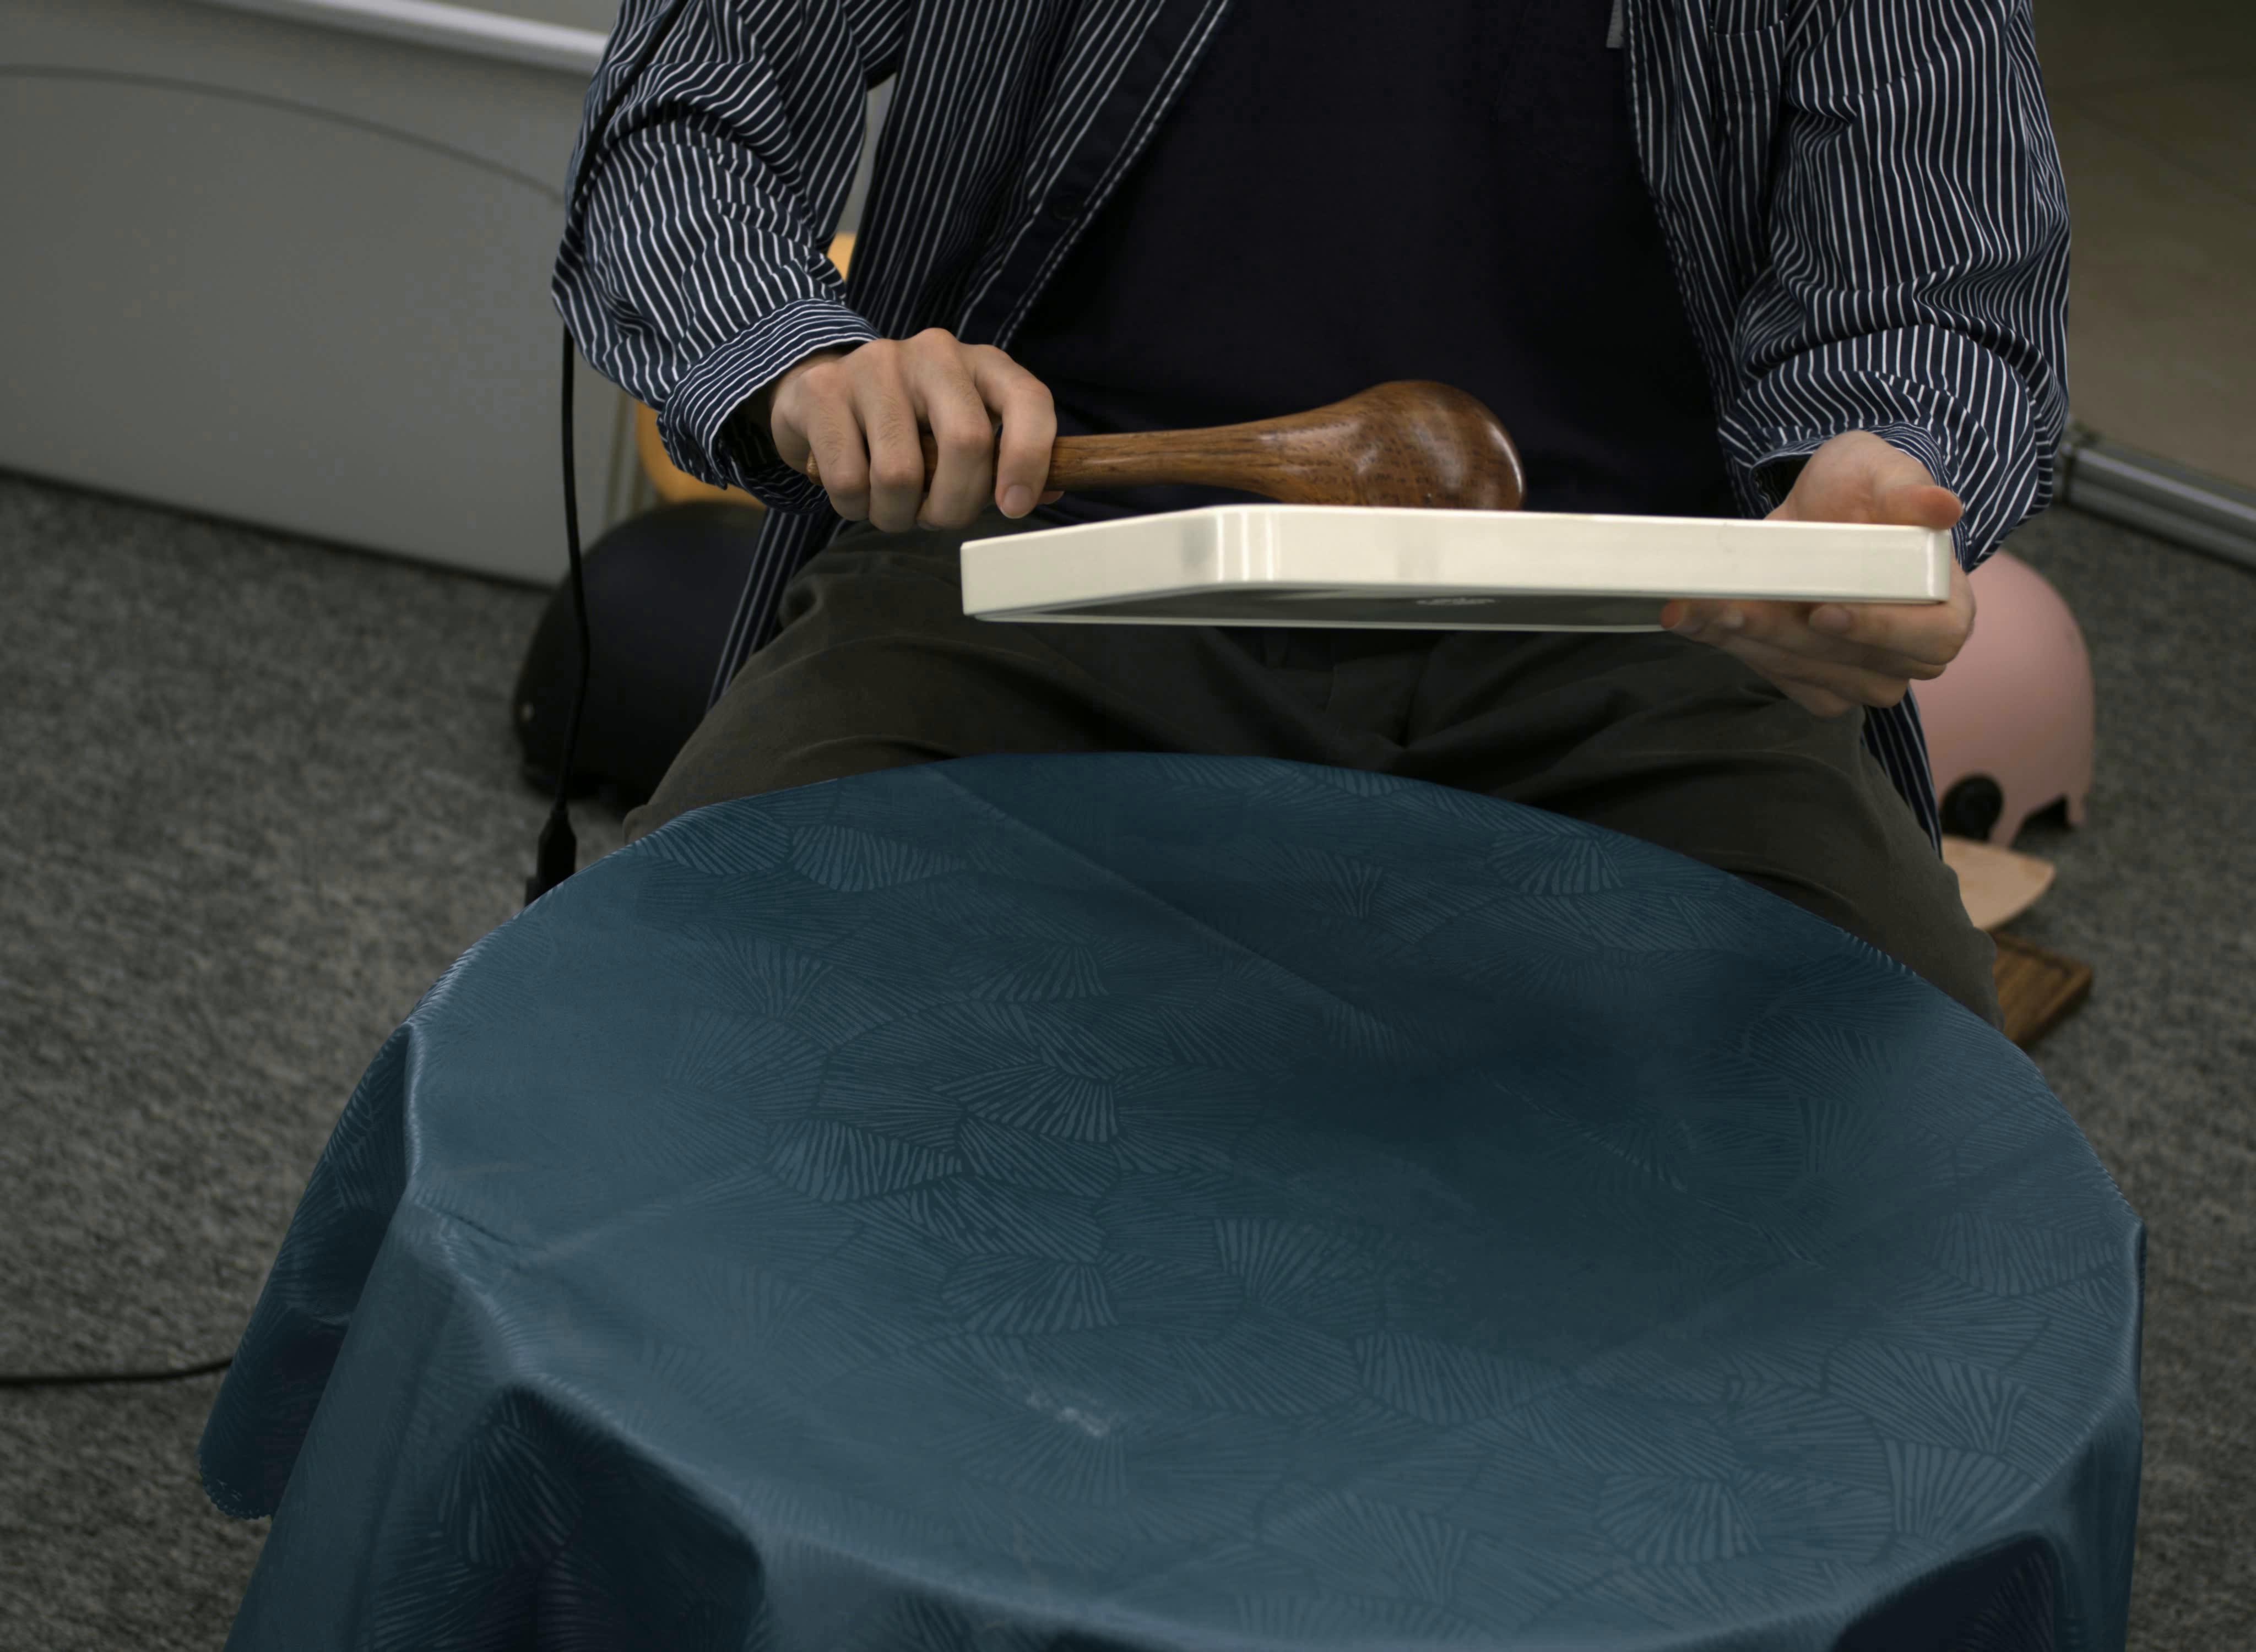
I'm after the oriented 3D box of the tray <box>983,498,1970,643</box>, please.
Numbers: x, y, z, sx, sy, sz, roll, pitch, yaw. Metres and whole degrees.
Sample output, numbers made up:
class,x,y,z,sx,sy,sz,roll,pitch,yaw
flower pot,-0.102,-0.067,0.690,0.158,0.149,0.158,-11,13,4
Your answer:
class,x,y,z,sx,sy,sz,roll,pitch,yaw
tray,0.120,-0.085,1.828,0.298,0.027,0.192,0,-3,-29

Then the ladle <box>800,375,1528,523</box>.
class,x,y,z,sx,sy,sz,roll,pitch,yaw
ladle,0.013,-0.120,1.928,0.275,0.076,0.082,-1,59,32
